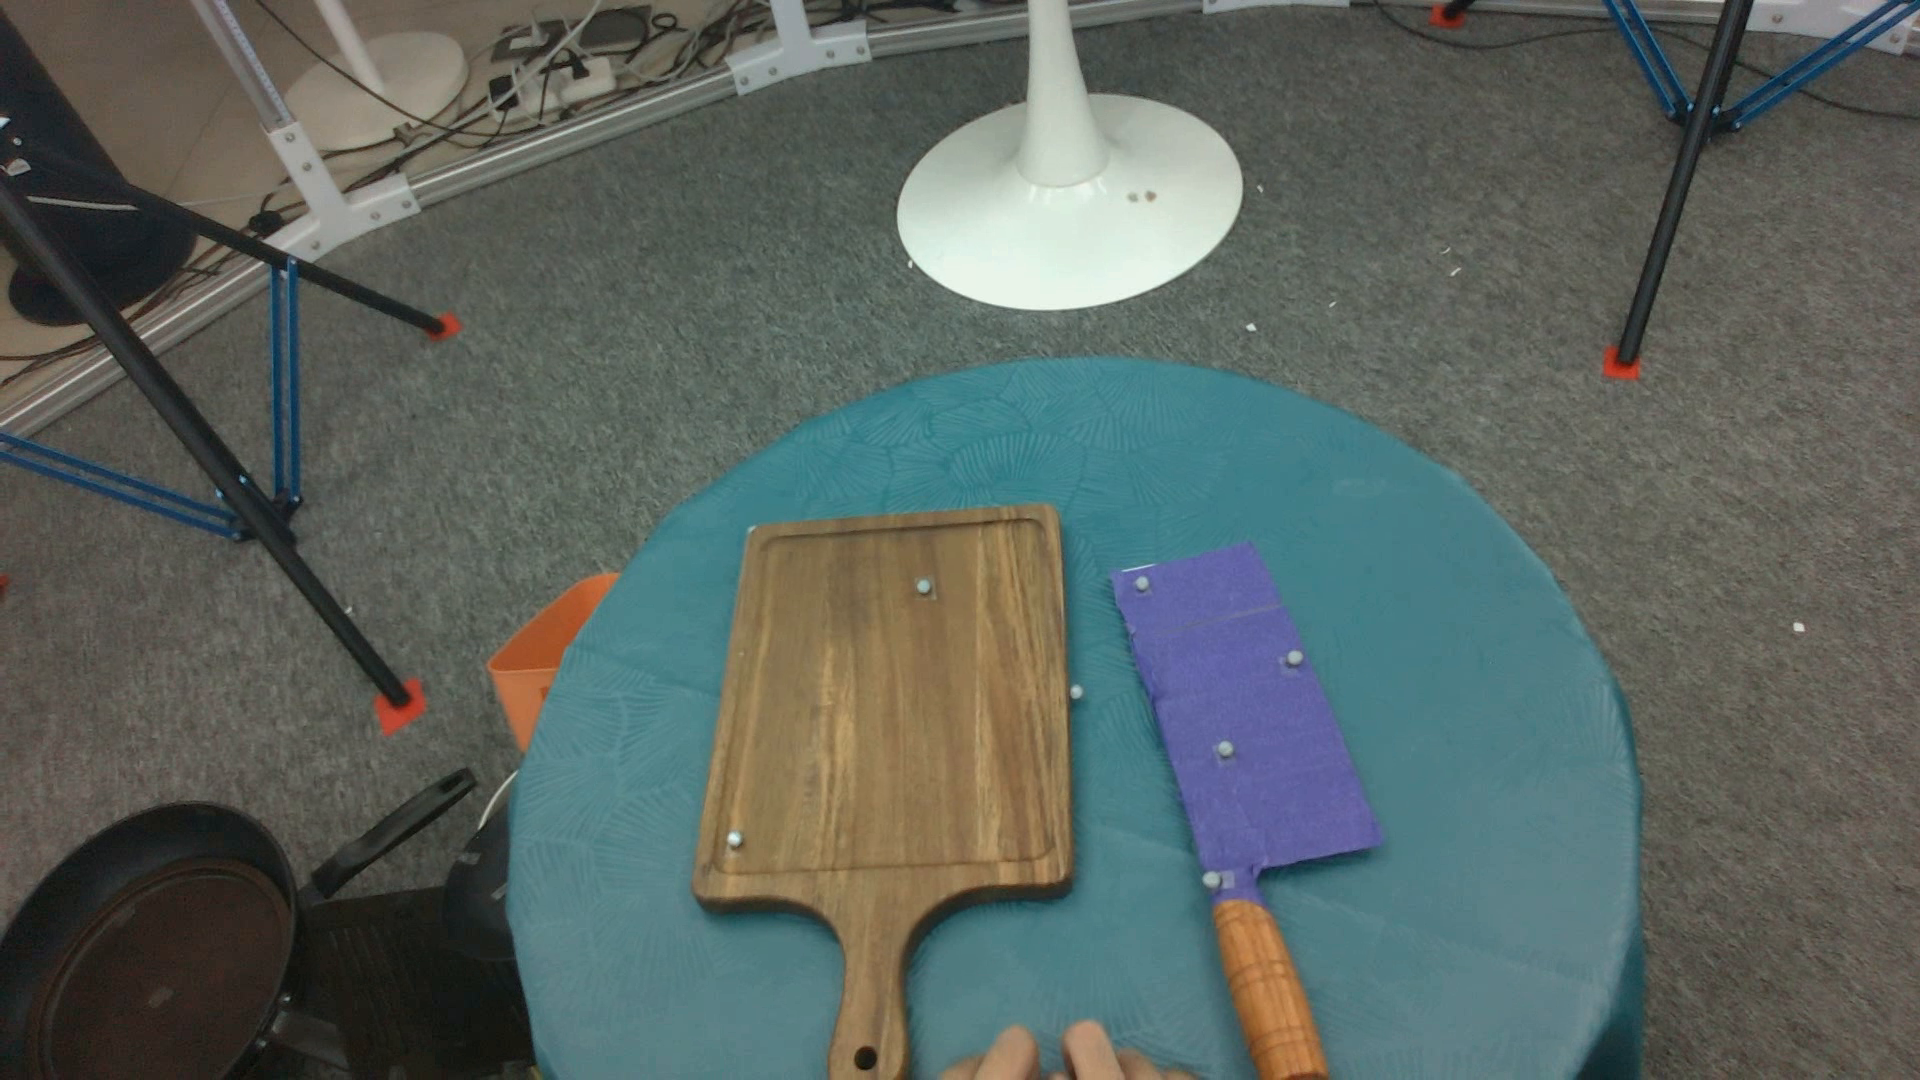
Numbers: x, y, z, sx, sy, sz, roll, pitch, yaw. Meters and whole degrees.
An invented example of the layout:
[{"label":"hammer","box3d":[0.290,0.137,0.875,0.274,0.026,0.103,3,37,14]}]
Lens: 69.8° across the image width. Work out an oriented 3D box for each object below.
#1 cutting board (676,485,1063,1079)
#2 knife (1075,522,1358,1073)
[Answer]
[{"label":"cutting board","box3d":[-0.048,0.114,0.741,0.201,0.023,0.354,-4,51,6]},{"label":"knife","box3d":[0.146,0.108,0.711,0.104,0.032,0.316,-13,50,-2]}]
